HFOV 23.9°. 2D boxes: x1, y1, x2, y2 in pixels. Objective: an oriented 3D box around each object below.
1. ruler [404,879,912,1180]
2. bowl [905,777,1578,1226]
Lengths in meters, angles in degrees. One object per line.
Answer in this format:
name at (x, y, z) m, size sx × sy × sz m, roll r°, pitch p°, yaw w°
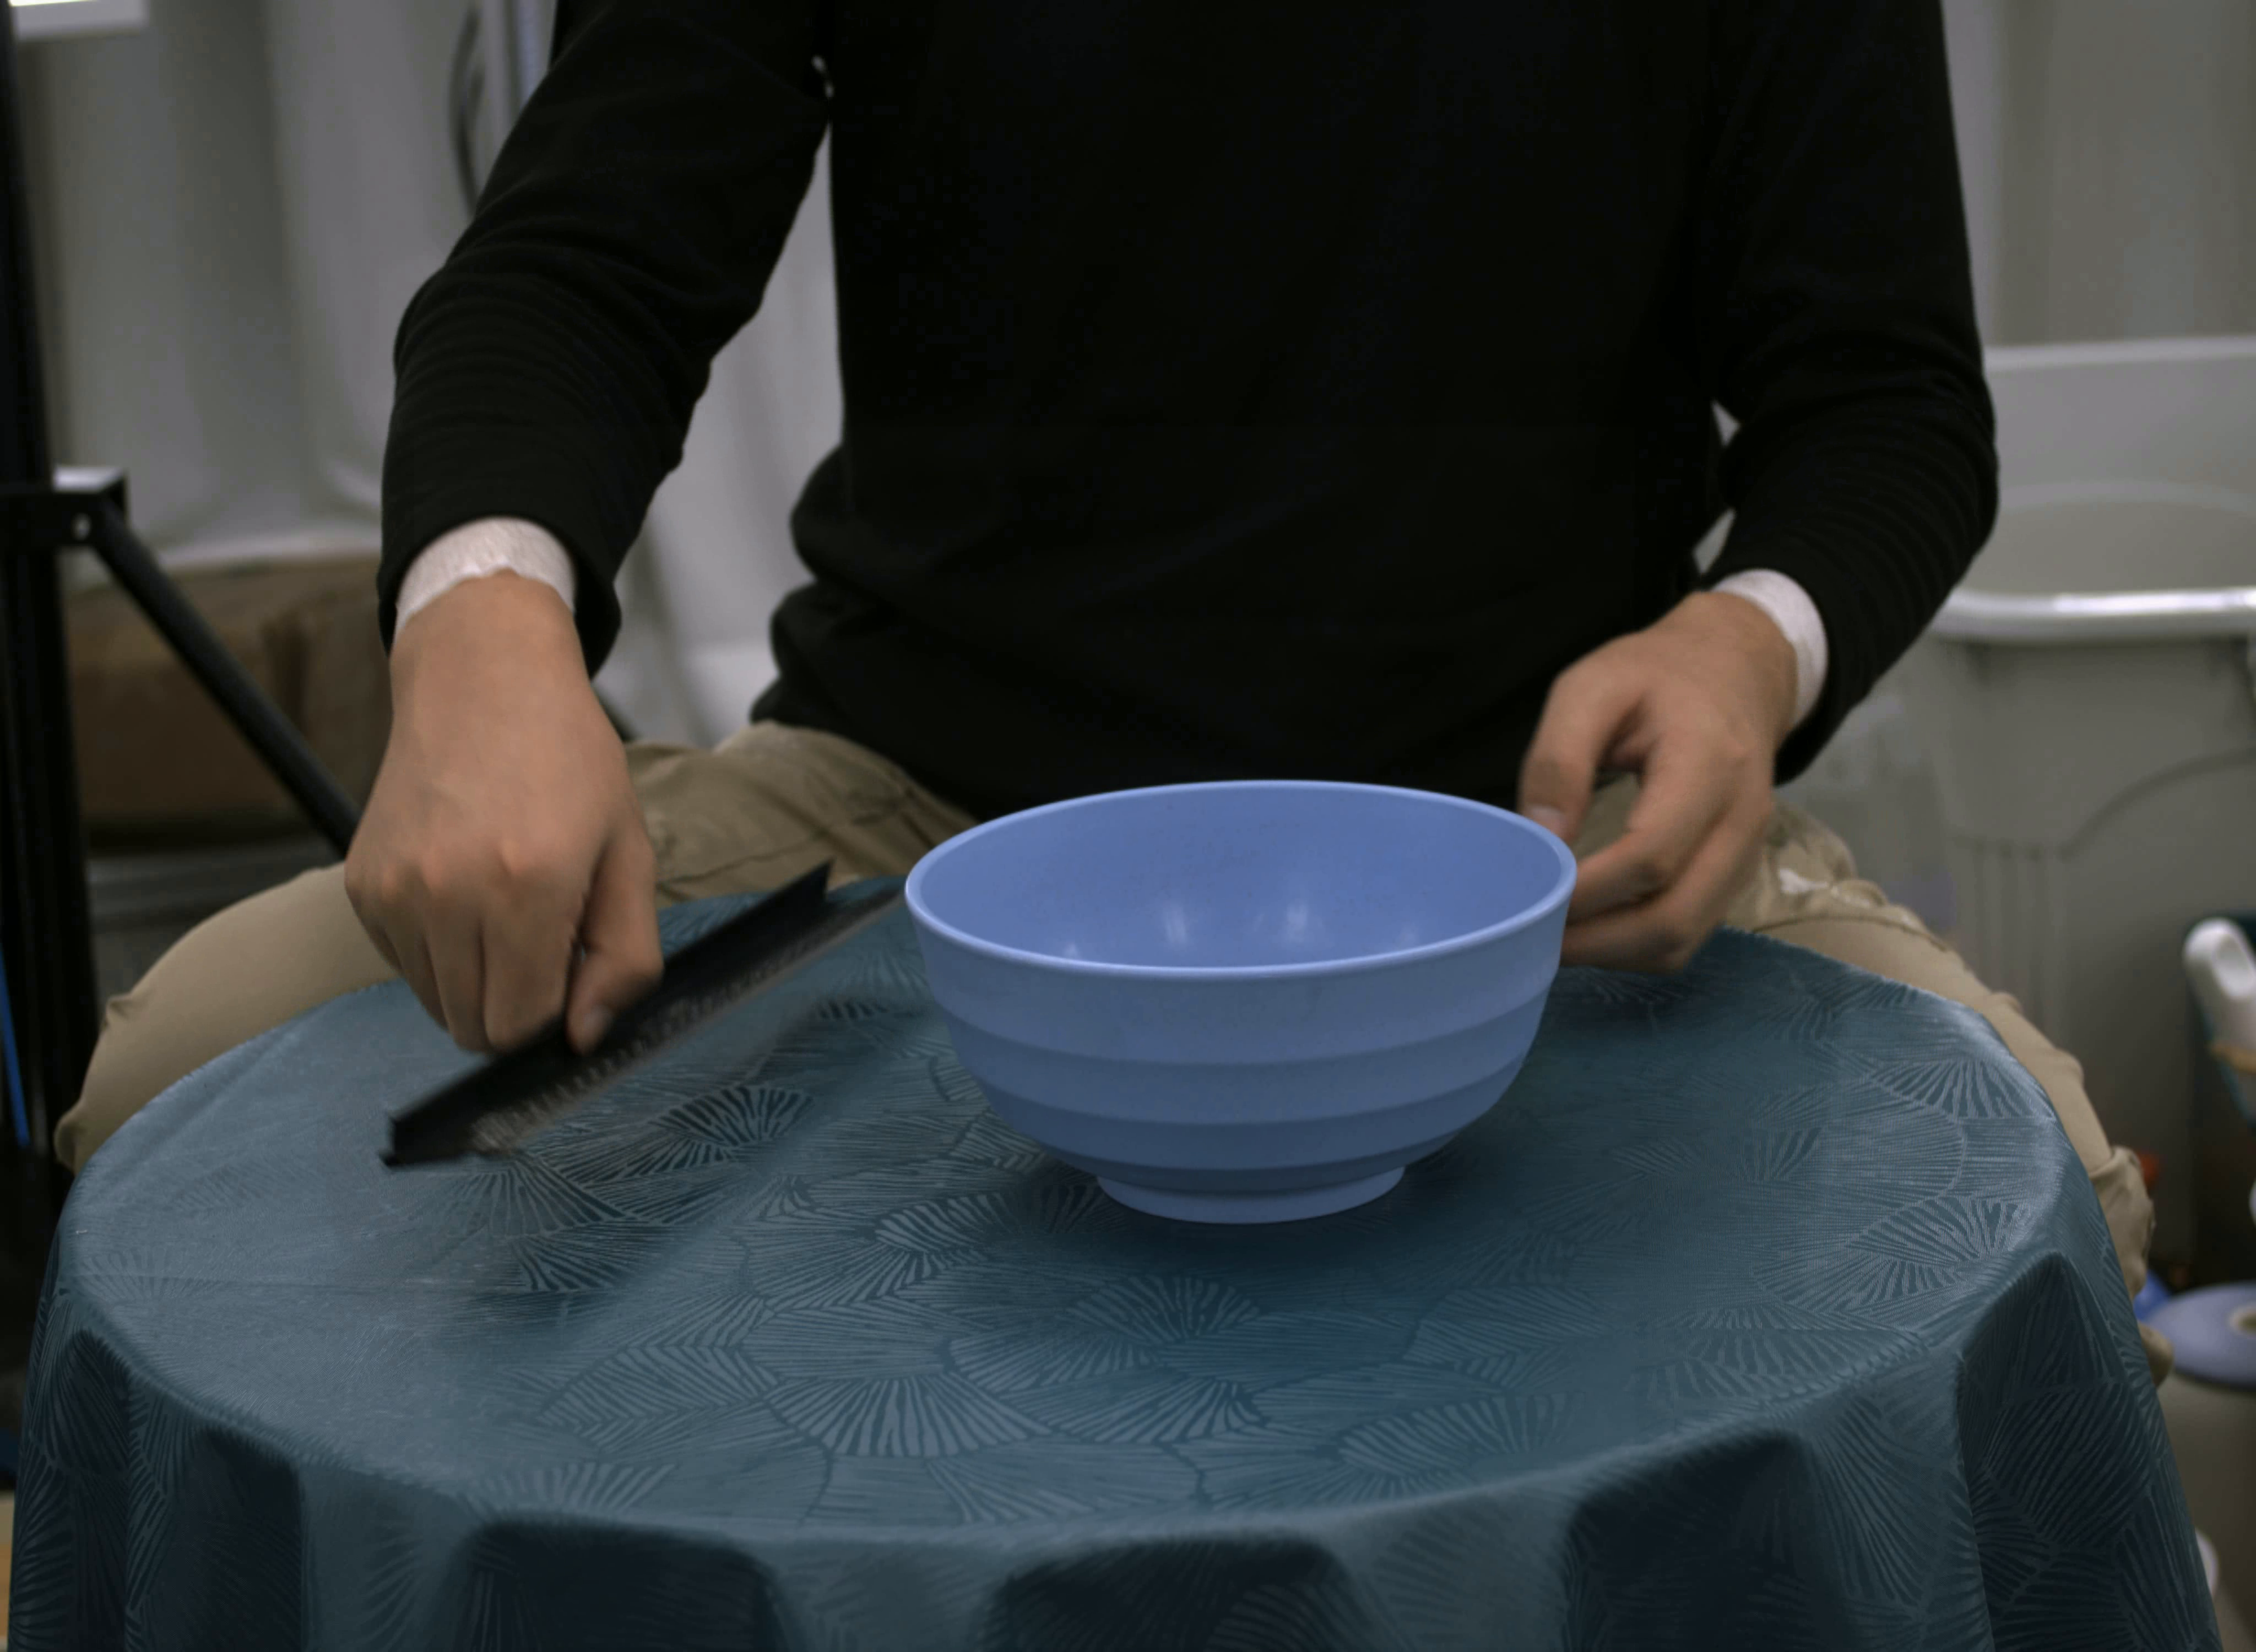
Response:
ruler at (-0.136, 0.057, 1.612) m, size 0.040 × 0.017 × 0.309 m, roll -3°, pitch 11°, yaw 20°
bowl at (0.034, 0.057, 1.556) m, size 0.195 × 0.095 × 0.197 m, roll -3°, pitch 16°, yaw -1°
